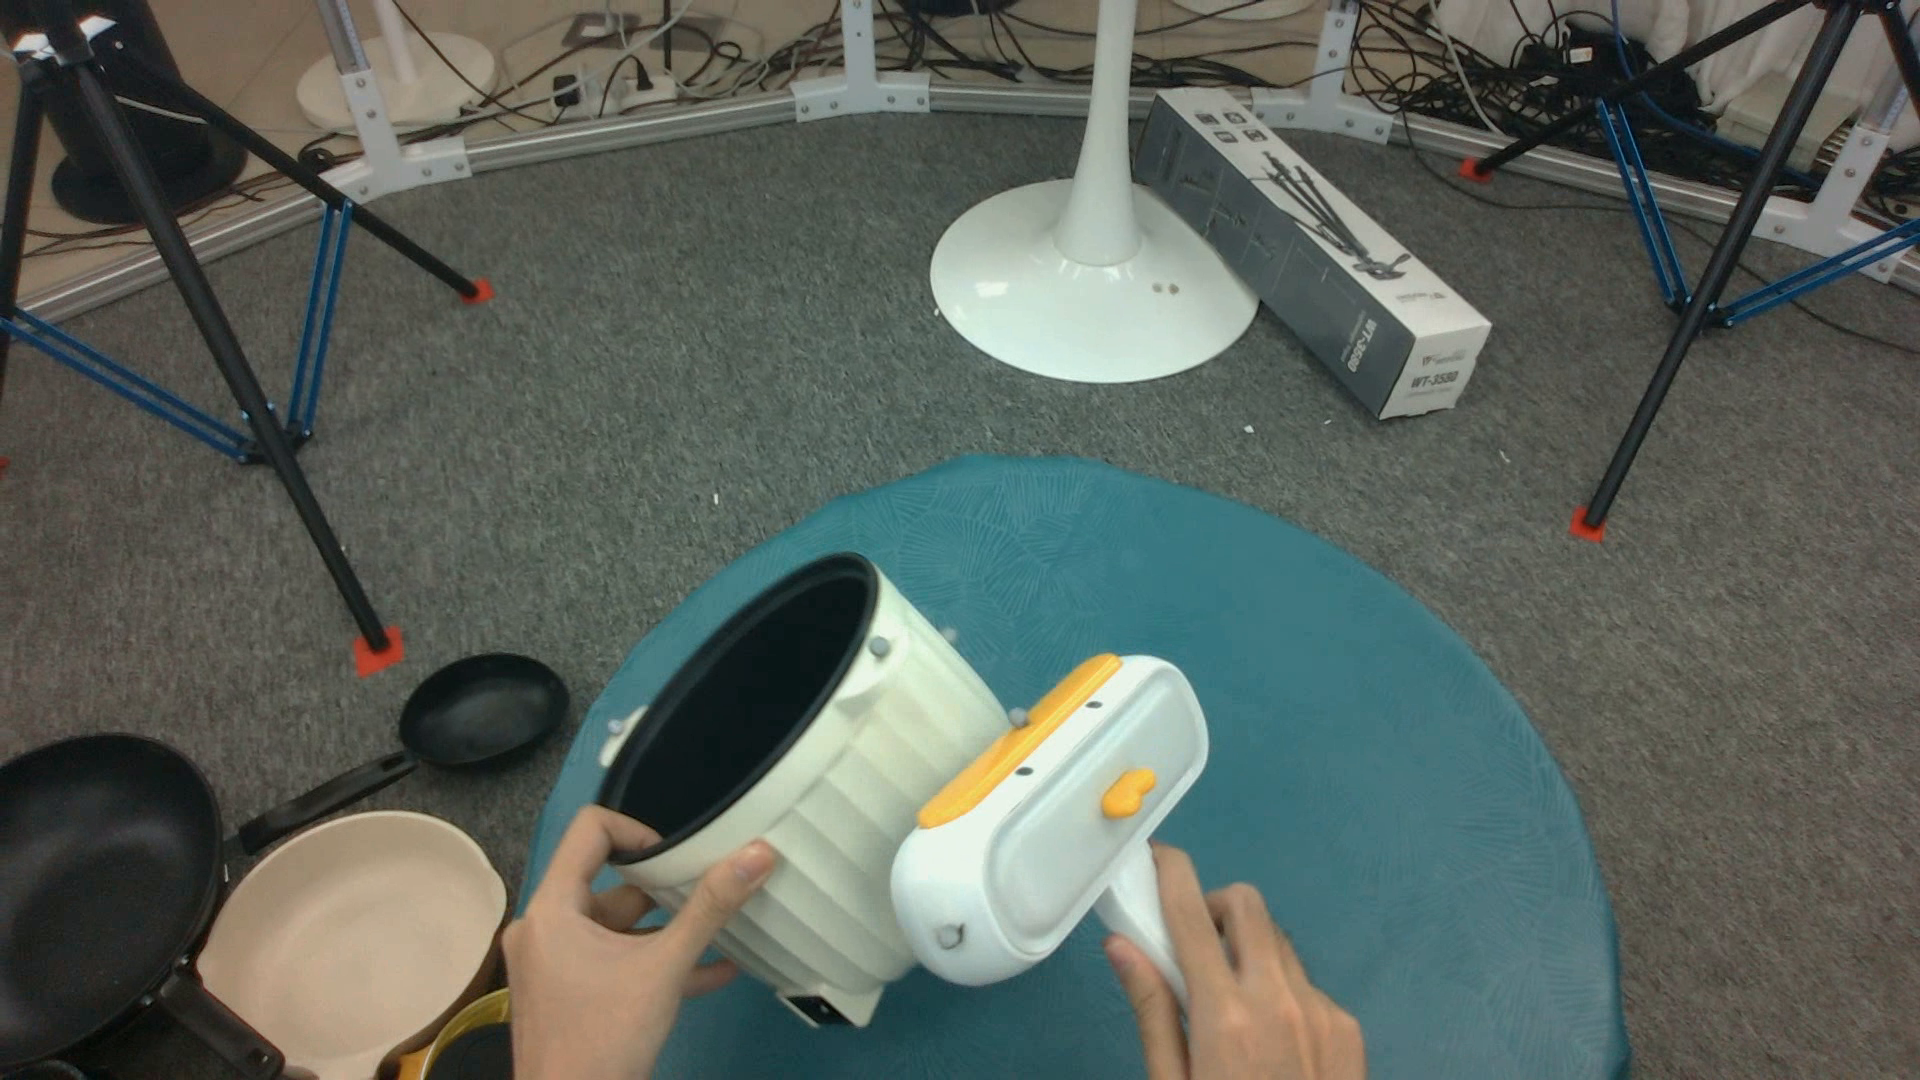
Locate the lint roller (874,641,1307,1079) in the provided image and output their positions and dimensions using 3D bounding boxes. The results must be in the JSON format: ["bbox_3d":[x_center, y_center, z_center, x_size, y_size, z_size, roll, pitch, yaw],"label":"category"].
[{"bbox_3d":[0.072,0.152,0.581,0.192,0.074,0.194,56,36,-6],"label":"lint roller"}]

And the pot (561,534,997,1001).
[{"bbox_3d":[-0.075,0.105,0.667,0.239,0.142,0.191,-19,35,42],"label":"pot"}]
